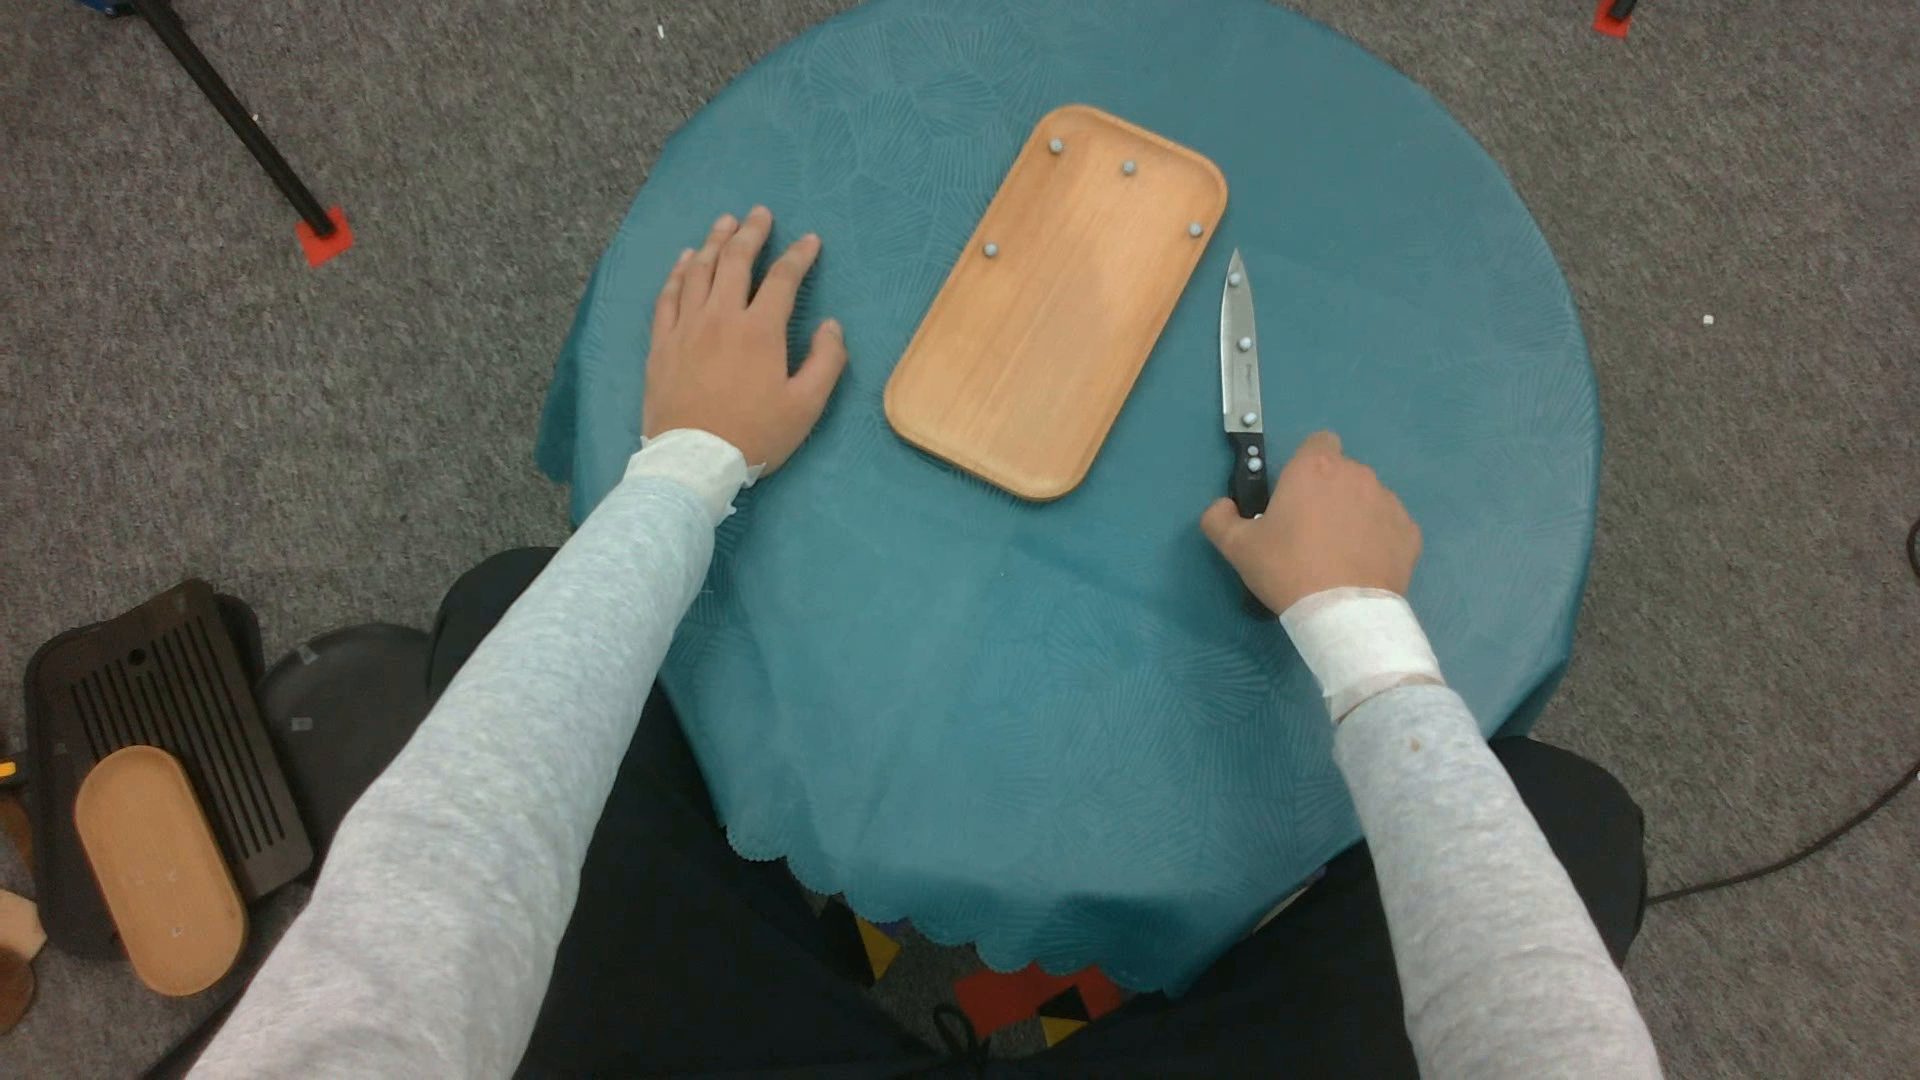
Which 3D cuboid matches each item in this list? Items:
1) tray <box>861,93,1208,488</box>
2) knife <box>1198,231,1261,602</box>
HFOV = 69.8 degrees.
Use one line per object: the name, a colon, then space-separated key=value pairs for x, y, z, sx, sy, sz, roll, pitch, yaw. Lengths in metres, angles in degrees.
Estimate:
tray: x=0.047 y=-0.152 z=0.816 sx=0.130 sy=0.023 sz=0.251 roll=26 pitch=73 yaw=10
knife: x=0.156 y=-0.078 z=0.798 sx=0.024 sy=0.016 sz=0.239 roll=1 pitch=68 yaw=-5
